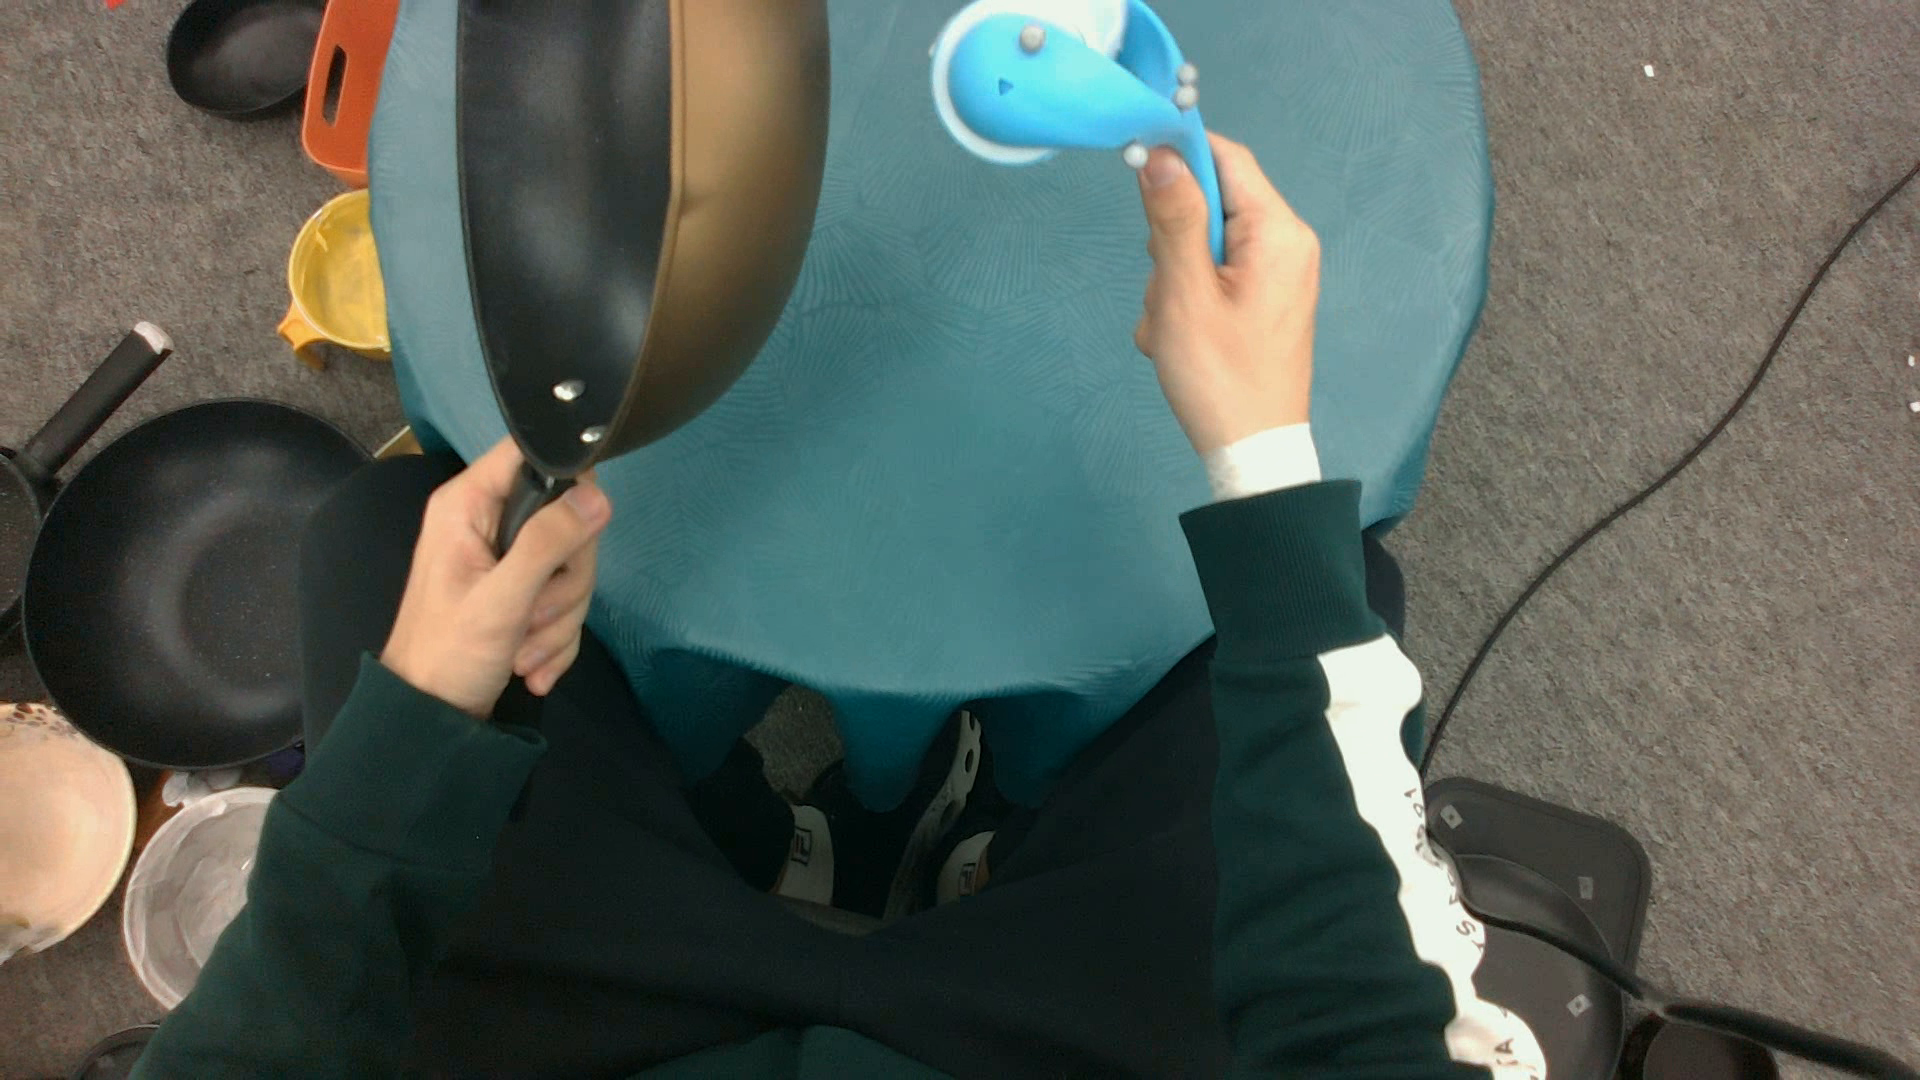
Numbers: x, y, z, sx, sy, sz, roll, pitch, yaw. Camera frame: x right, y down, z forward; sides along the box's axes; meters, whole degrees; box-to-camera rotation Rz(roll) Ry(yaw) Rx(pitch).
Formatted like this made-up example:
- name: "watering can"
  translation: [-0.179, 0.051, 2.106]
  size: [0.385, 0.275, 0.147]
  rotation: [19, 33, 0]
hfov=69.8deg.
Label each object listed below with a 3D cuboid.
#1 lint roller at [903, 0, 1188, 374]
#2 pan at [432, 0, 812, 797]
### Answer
- name: "lint roller"
  translation: [0.053, -0.153, 0.541]
  size: [0.068, 0.230, 0.180]
  rotation: [-32, 113, 19]
- name: "pan"
  translation: [-0.141, -0.086, 0.547]
  size: [0.087, 0.461, 0.288]
  rotation: [-7, 32, -31]
